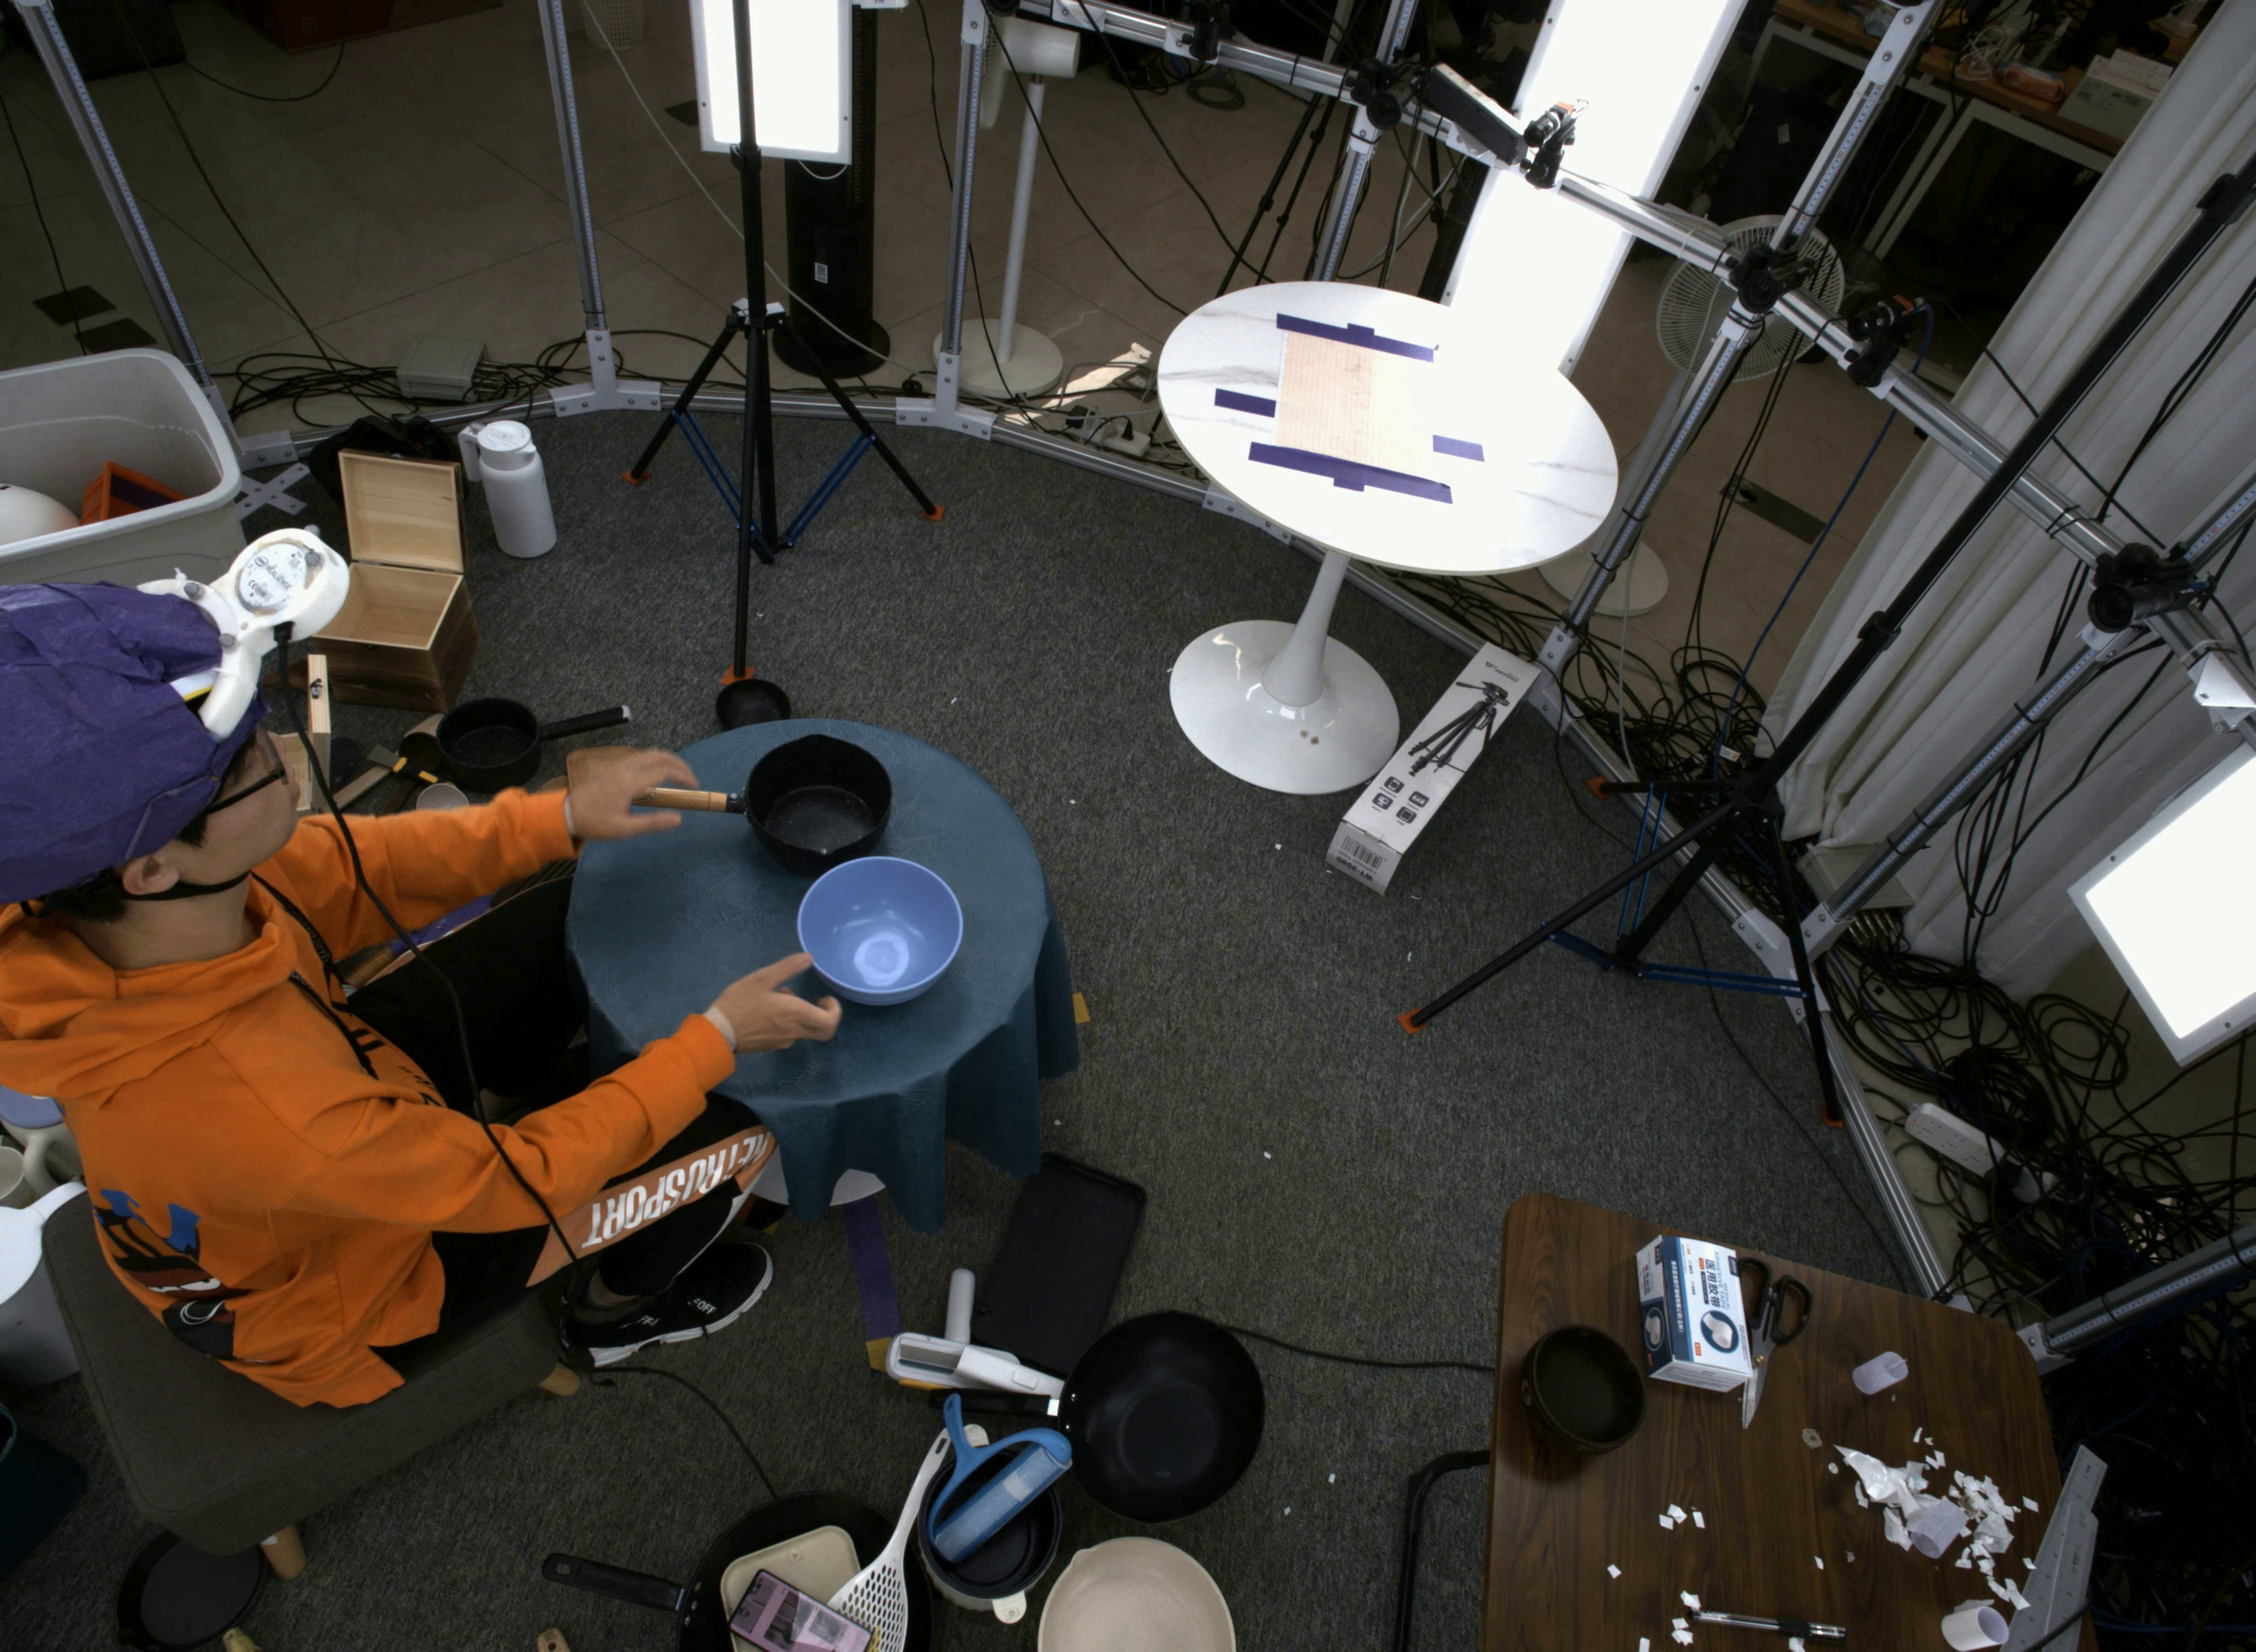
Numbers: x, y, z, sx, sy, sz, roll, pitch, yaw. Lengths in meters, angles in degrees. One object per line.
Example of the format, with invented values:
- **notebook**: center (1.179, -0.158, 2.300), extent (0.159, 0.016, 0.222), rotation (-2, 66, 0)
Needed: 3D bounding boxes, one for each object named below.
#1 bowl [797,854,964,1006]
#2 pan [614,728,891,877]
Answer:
- **bowl**: center (-0.301, 0.140, 1.579), extent (0.196, 0.097, 0.193), rotation (9, 52, -10)
- **pan**: center (-0.475, -0.022, 1.647), extent (0.344, 0.110, 0.203), rotation (-4, 56, -19)
